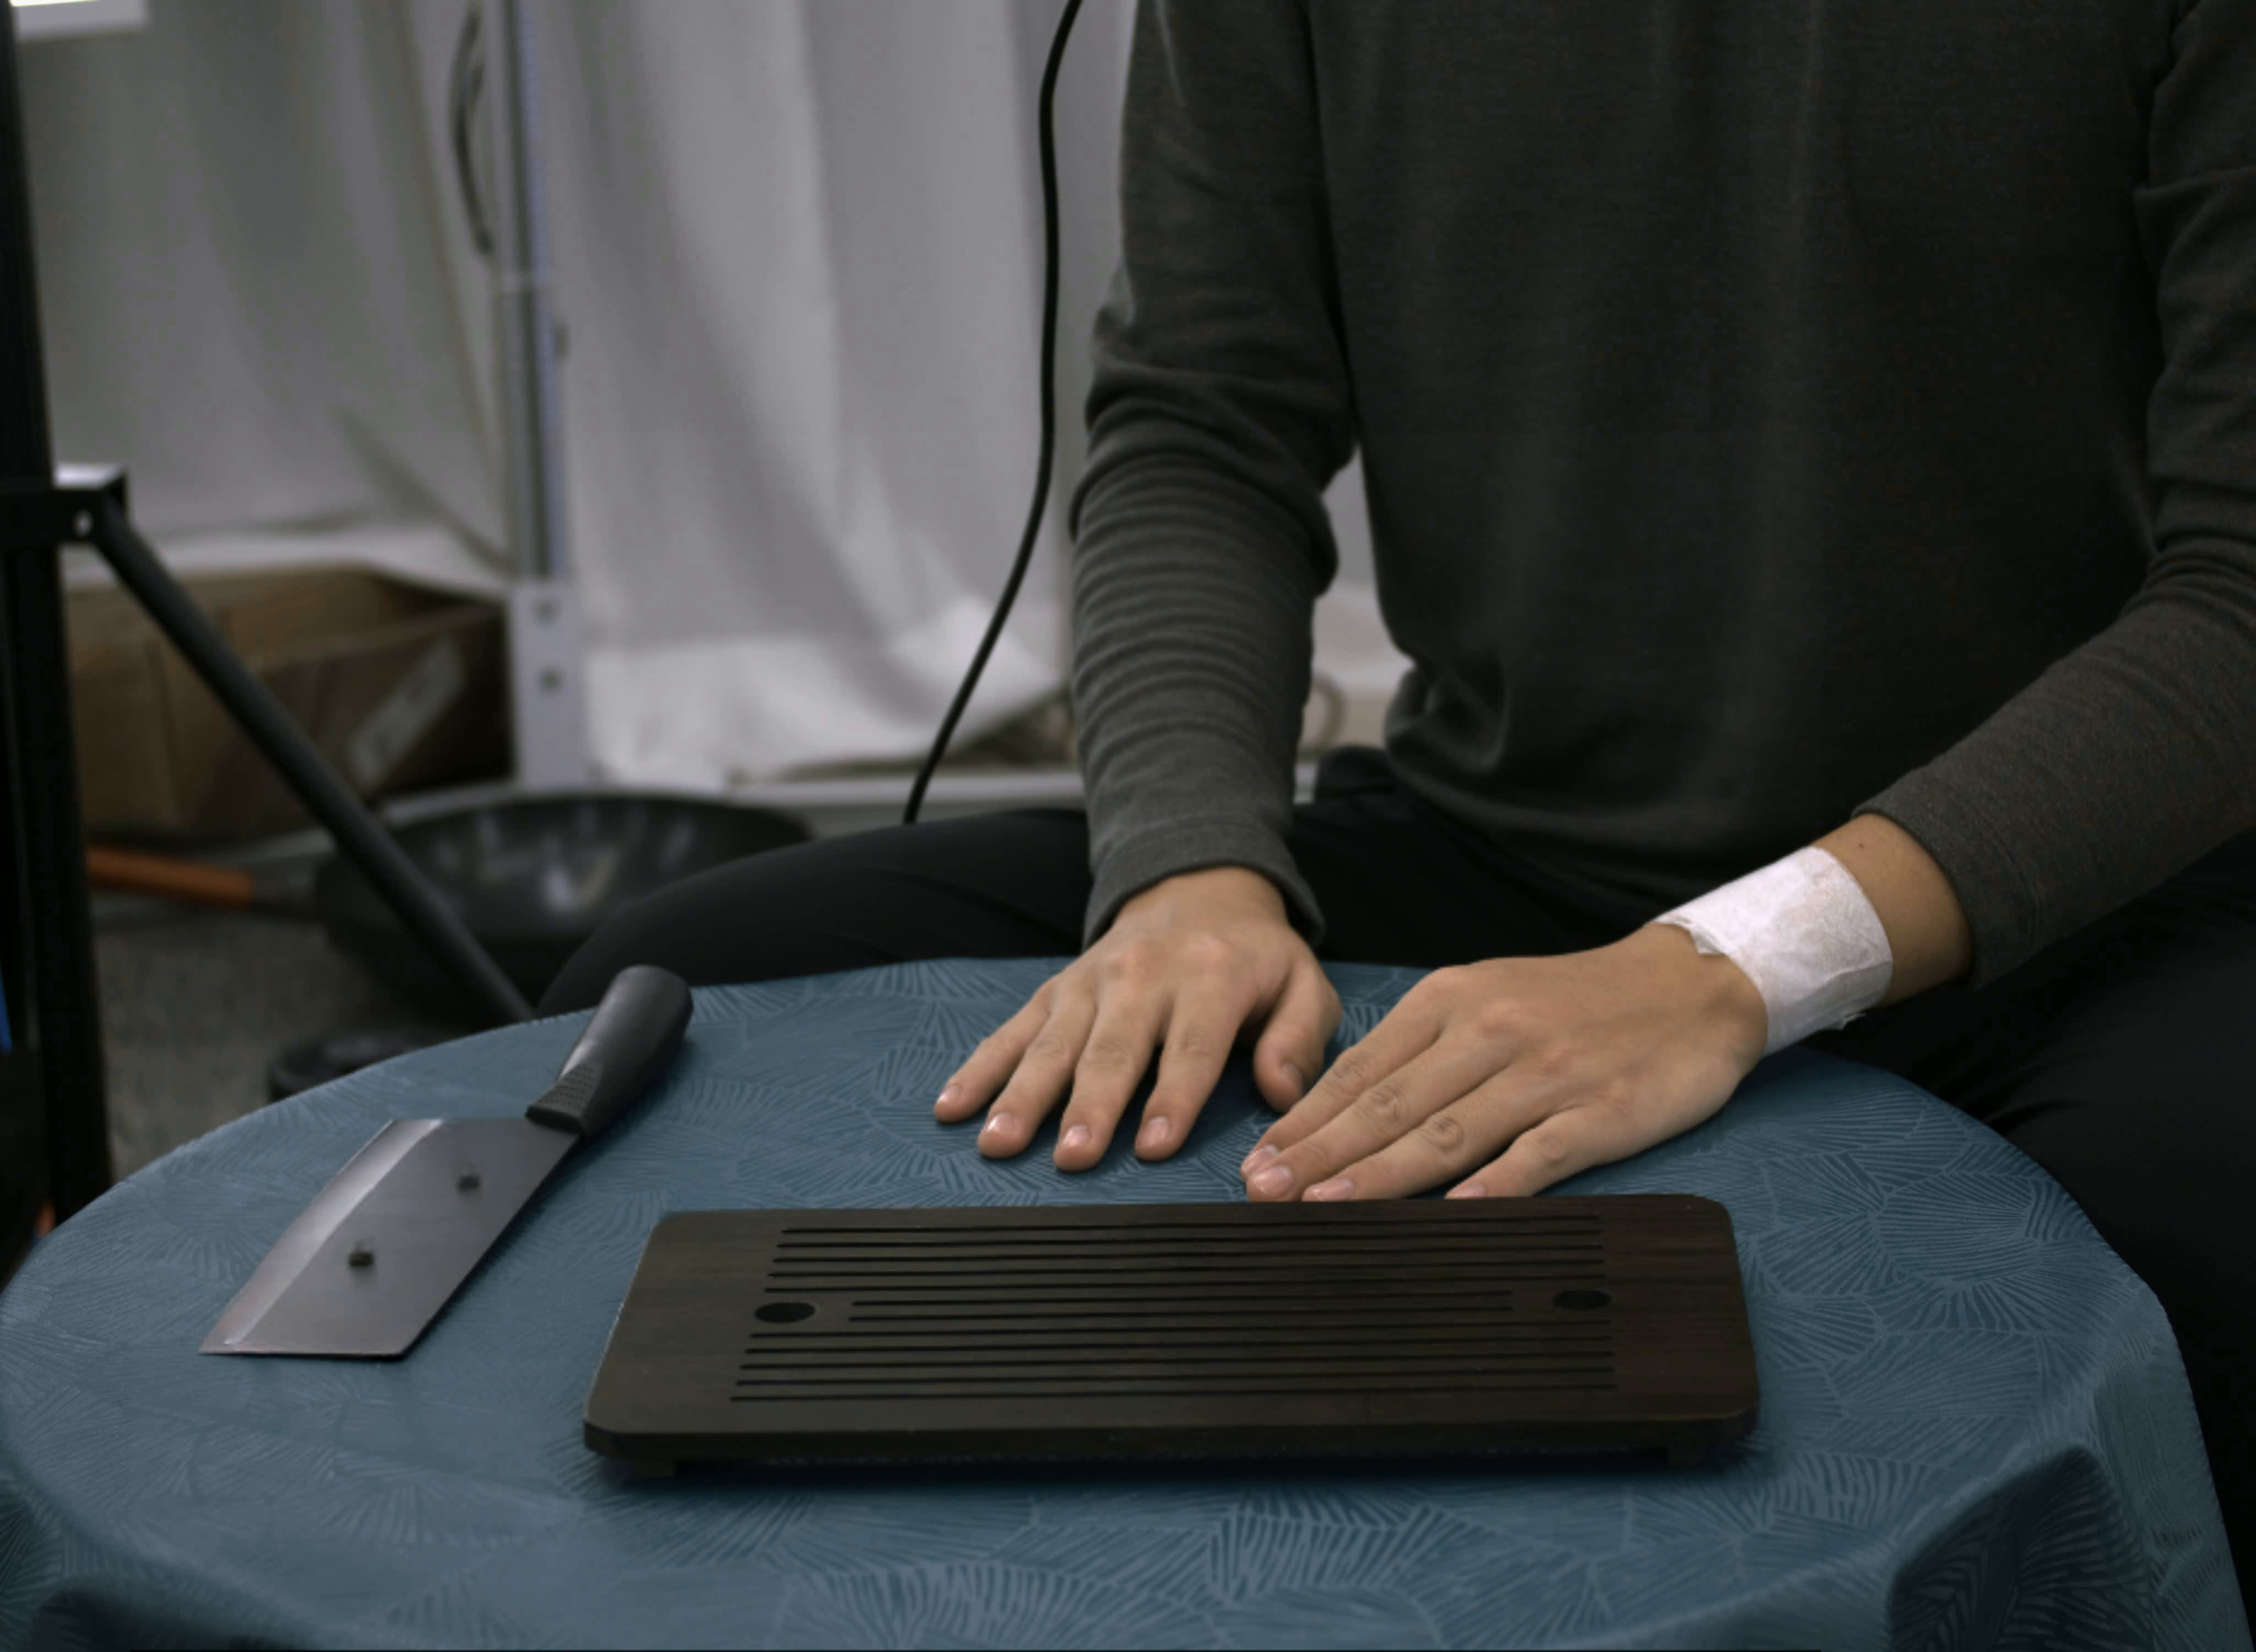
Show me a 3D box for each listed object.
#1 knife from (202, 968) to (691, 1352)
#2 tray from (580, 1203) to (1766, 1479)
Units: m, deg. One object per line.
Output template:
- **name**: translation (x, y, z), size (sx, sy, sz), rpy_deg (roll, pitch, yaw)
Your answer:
- **knife**: translation (-0.195, 0.099, 1.600), size (0.081, 0.021, 0.300), rpy_deg (1, 18, 17)
- **tray**: translation (0.014, 0.138, 1.421), size (0.306, 0.018, 0.170), rpy_deg (-1, 15, 5)
